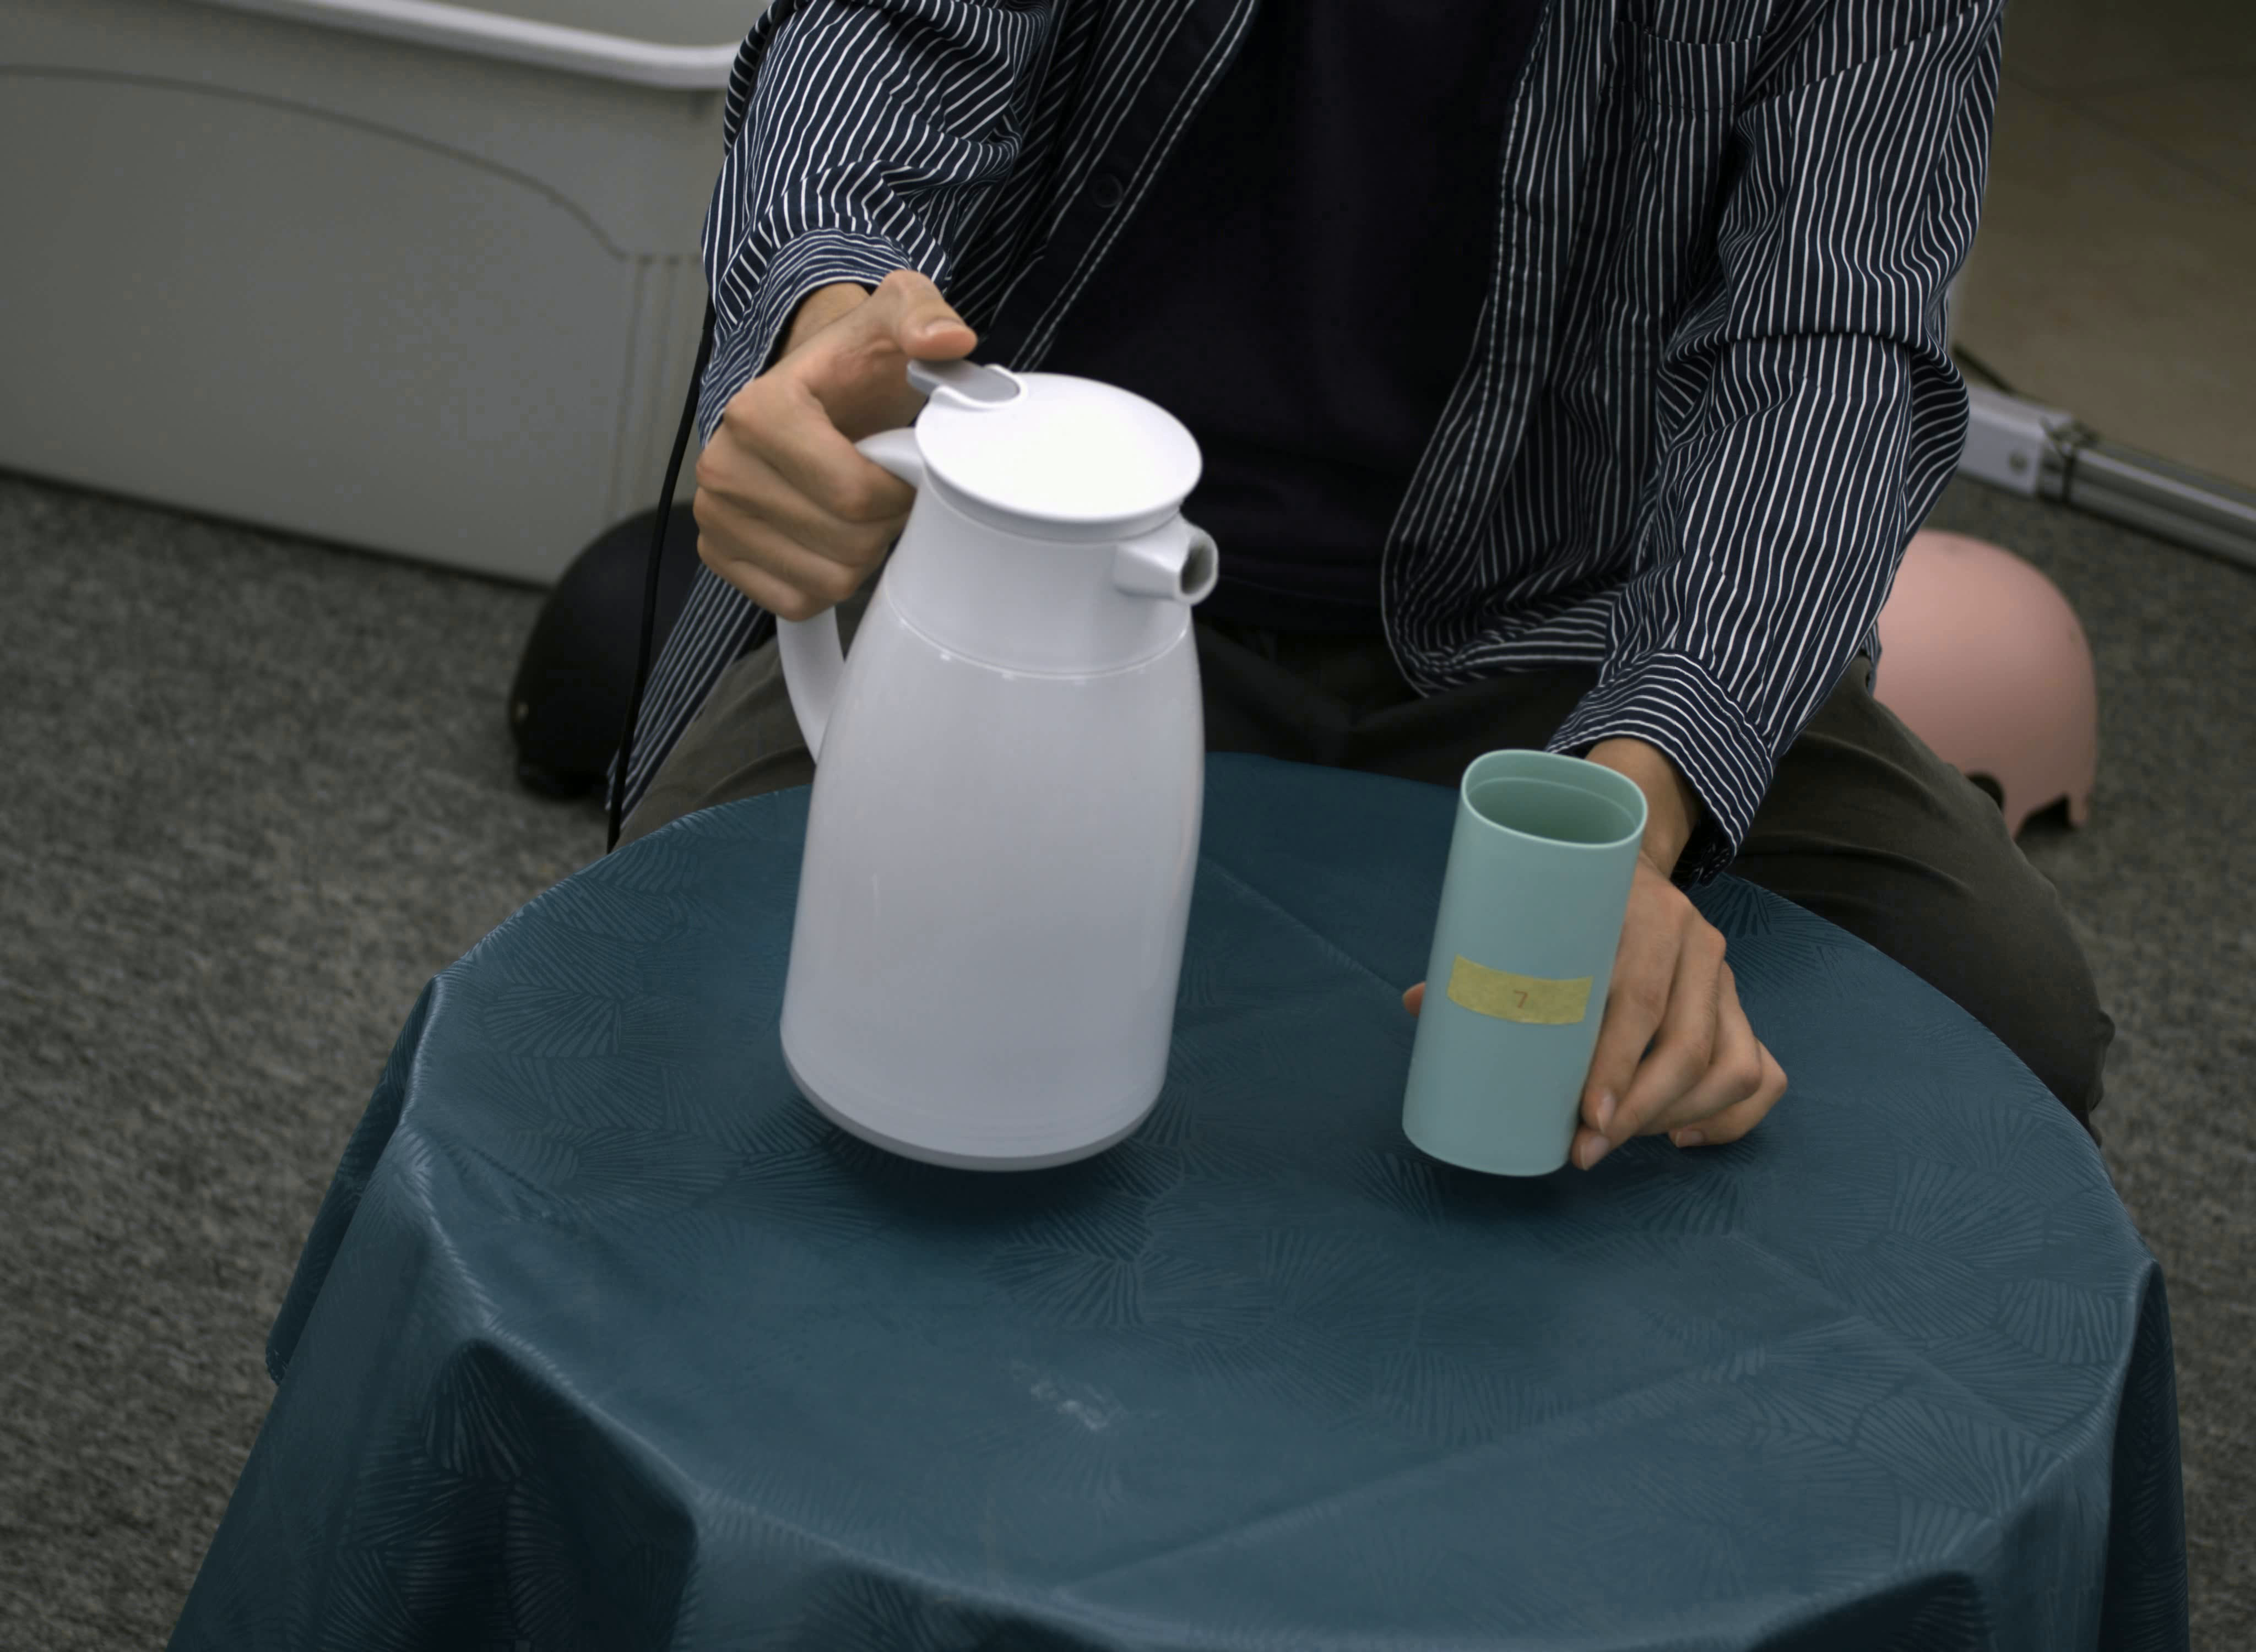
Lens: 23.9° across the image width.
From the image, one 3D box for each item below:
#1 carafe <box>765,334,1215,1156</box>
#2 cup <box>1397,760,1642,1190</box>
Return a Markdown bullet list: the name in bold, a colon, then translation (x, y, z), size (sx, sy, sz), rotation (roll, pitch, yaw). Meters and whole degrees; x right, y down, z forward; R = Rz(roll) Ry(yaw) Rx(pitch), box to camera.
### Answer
- **carafe**: translation (-0.053, -0.037, 1.747), size (0.169, 0.247, 0.132), rotation (27, 38, 29)
- **cup**: translation (0.131, 0.050, 1.790), size (0.066, 0.132, 0.067), rotation (6, 27, -4)
